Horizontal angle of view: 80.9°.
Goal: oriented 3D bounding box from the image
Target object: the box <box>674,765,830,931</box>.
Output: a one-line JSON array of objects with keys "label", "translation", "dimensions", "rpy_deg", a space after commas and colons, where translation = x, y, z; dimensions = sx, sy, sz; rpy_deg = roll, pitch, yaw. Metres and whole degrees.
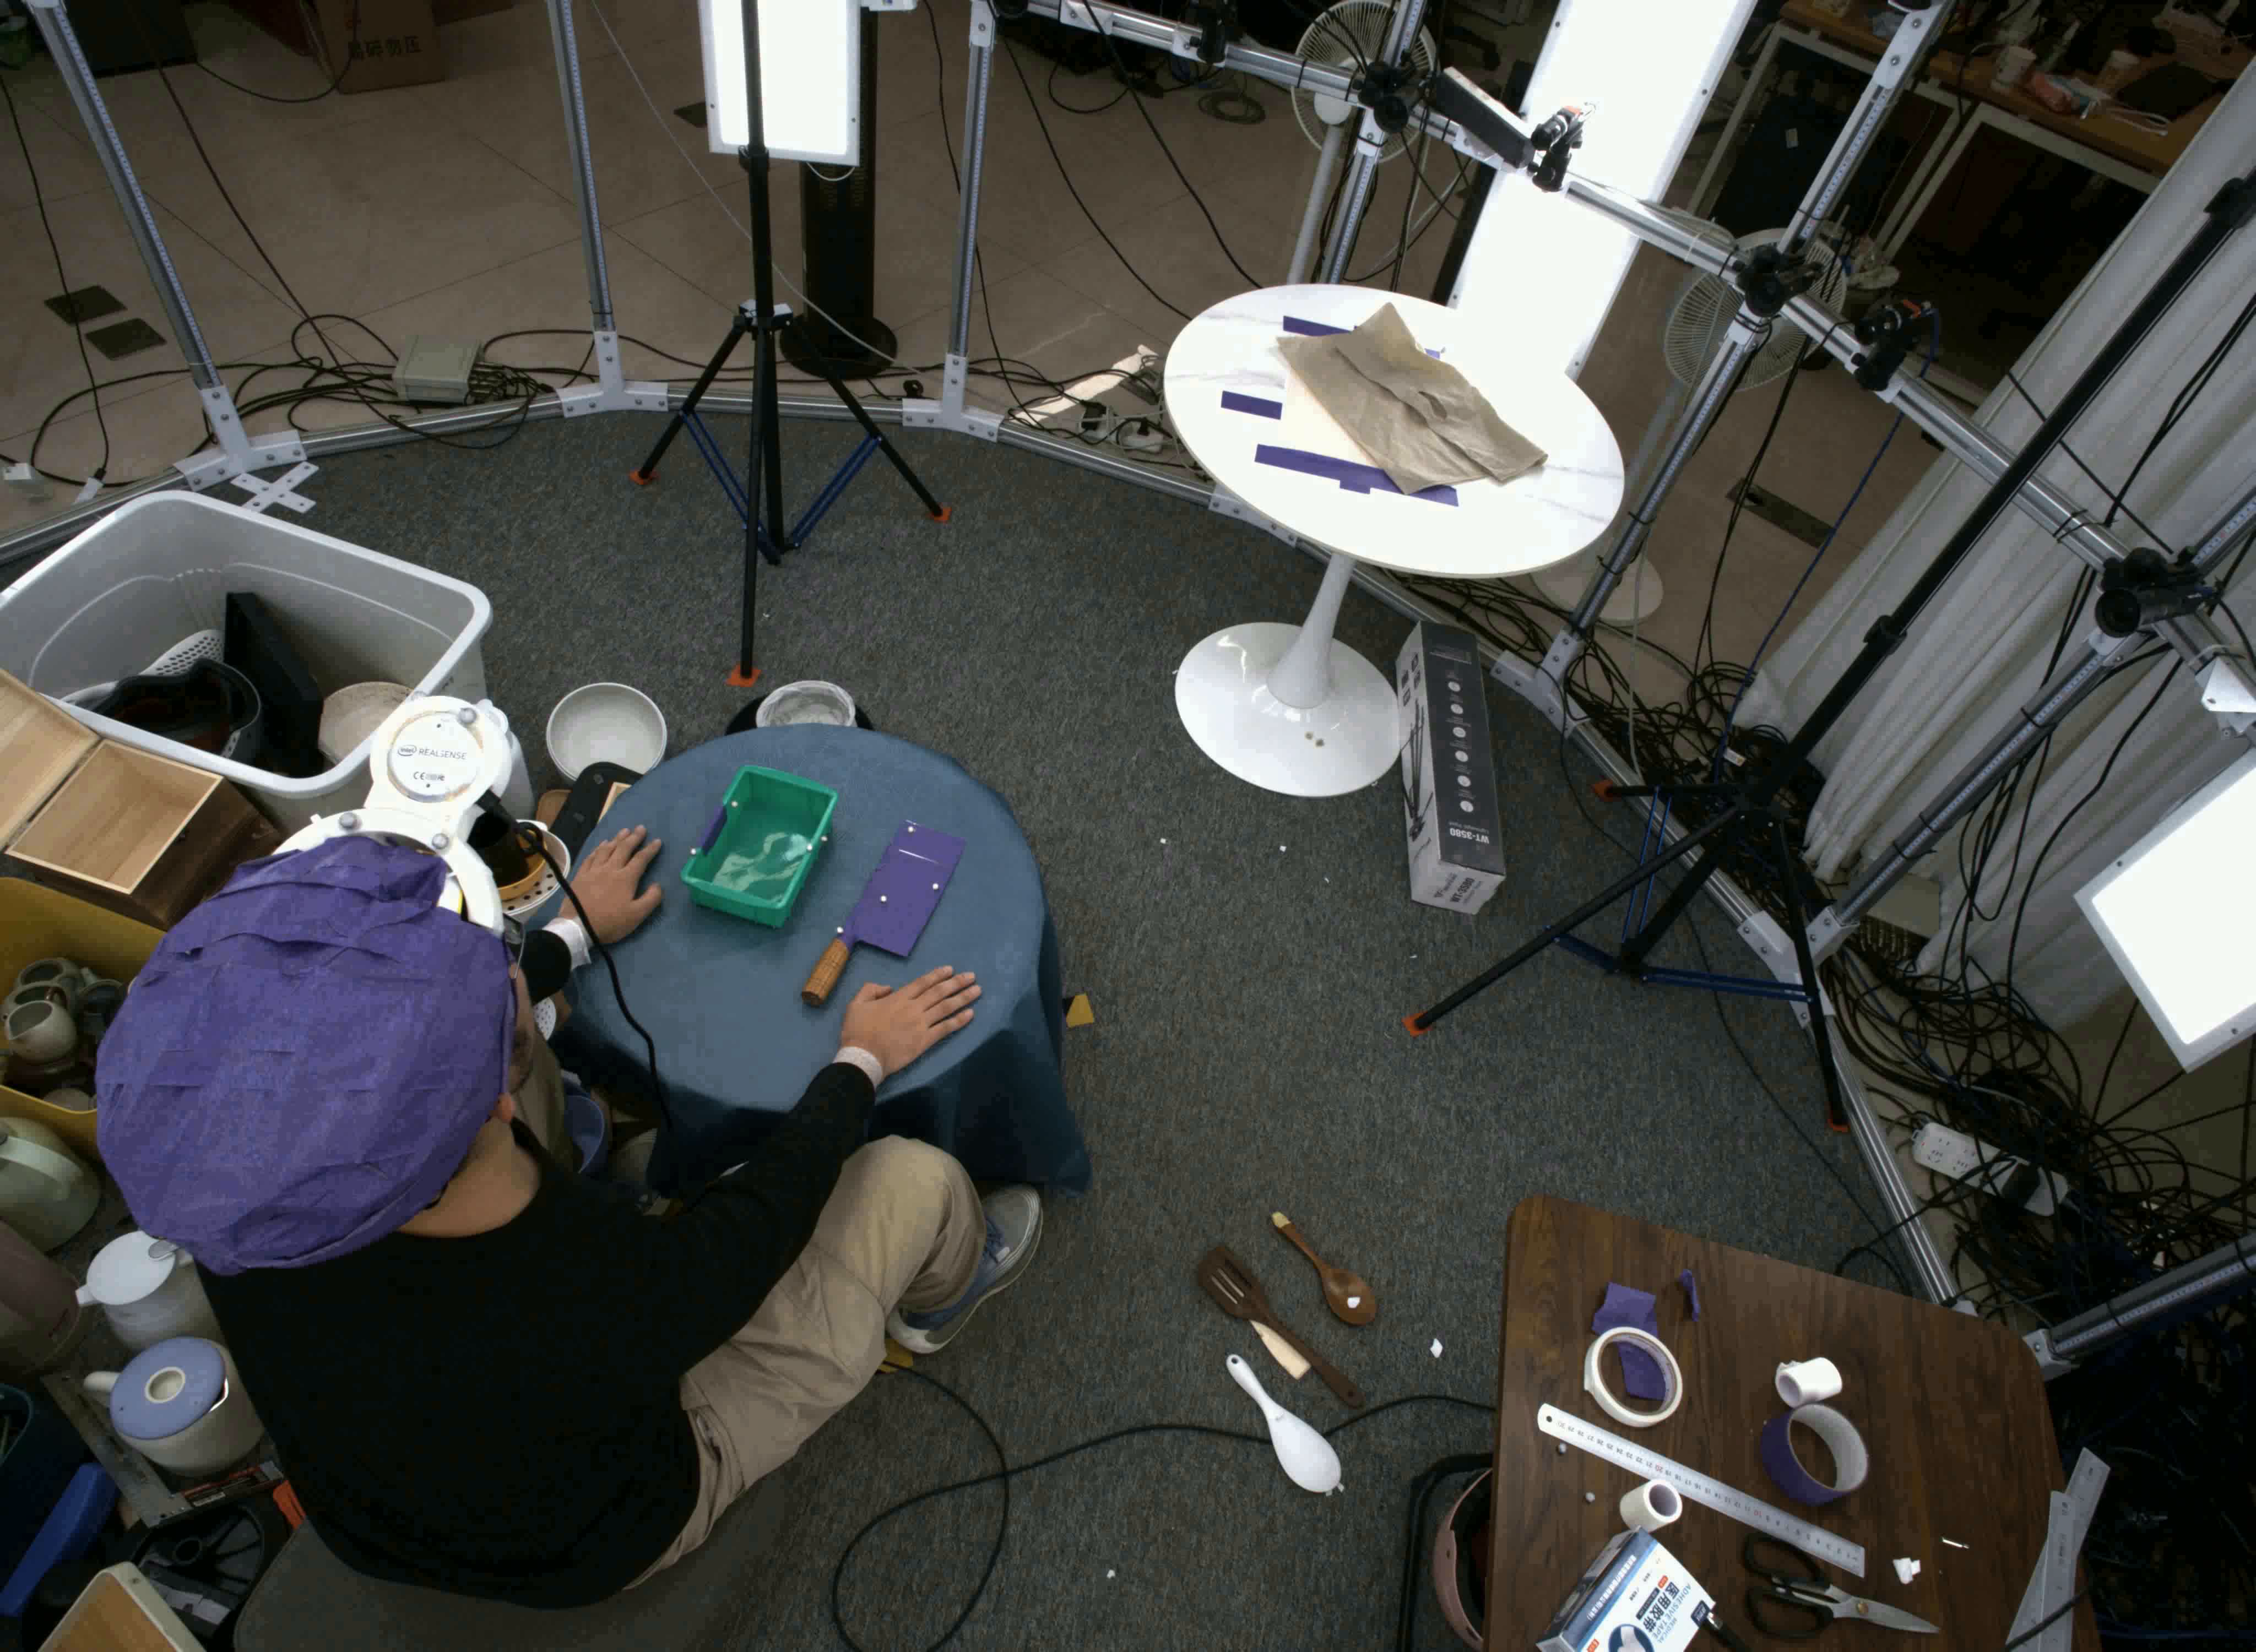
[{"label": "box", "translation": [-0.473, 0.029, 1.644], "dimensions": [0.137, 0.066, 0.208], "rpy_deg": [15, 53, -1]}]

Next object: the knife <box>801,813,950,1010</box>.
[{"label": "knife", "translation": [-0.312, 0.107, 1.652], "dimensions": [0.103, 0.033, 0.312], "rpy_deg": [19, 51, 0]}]
